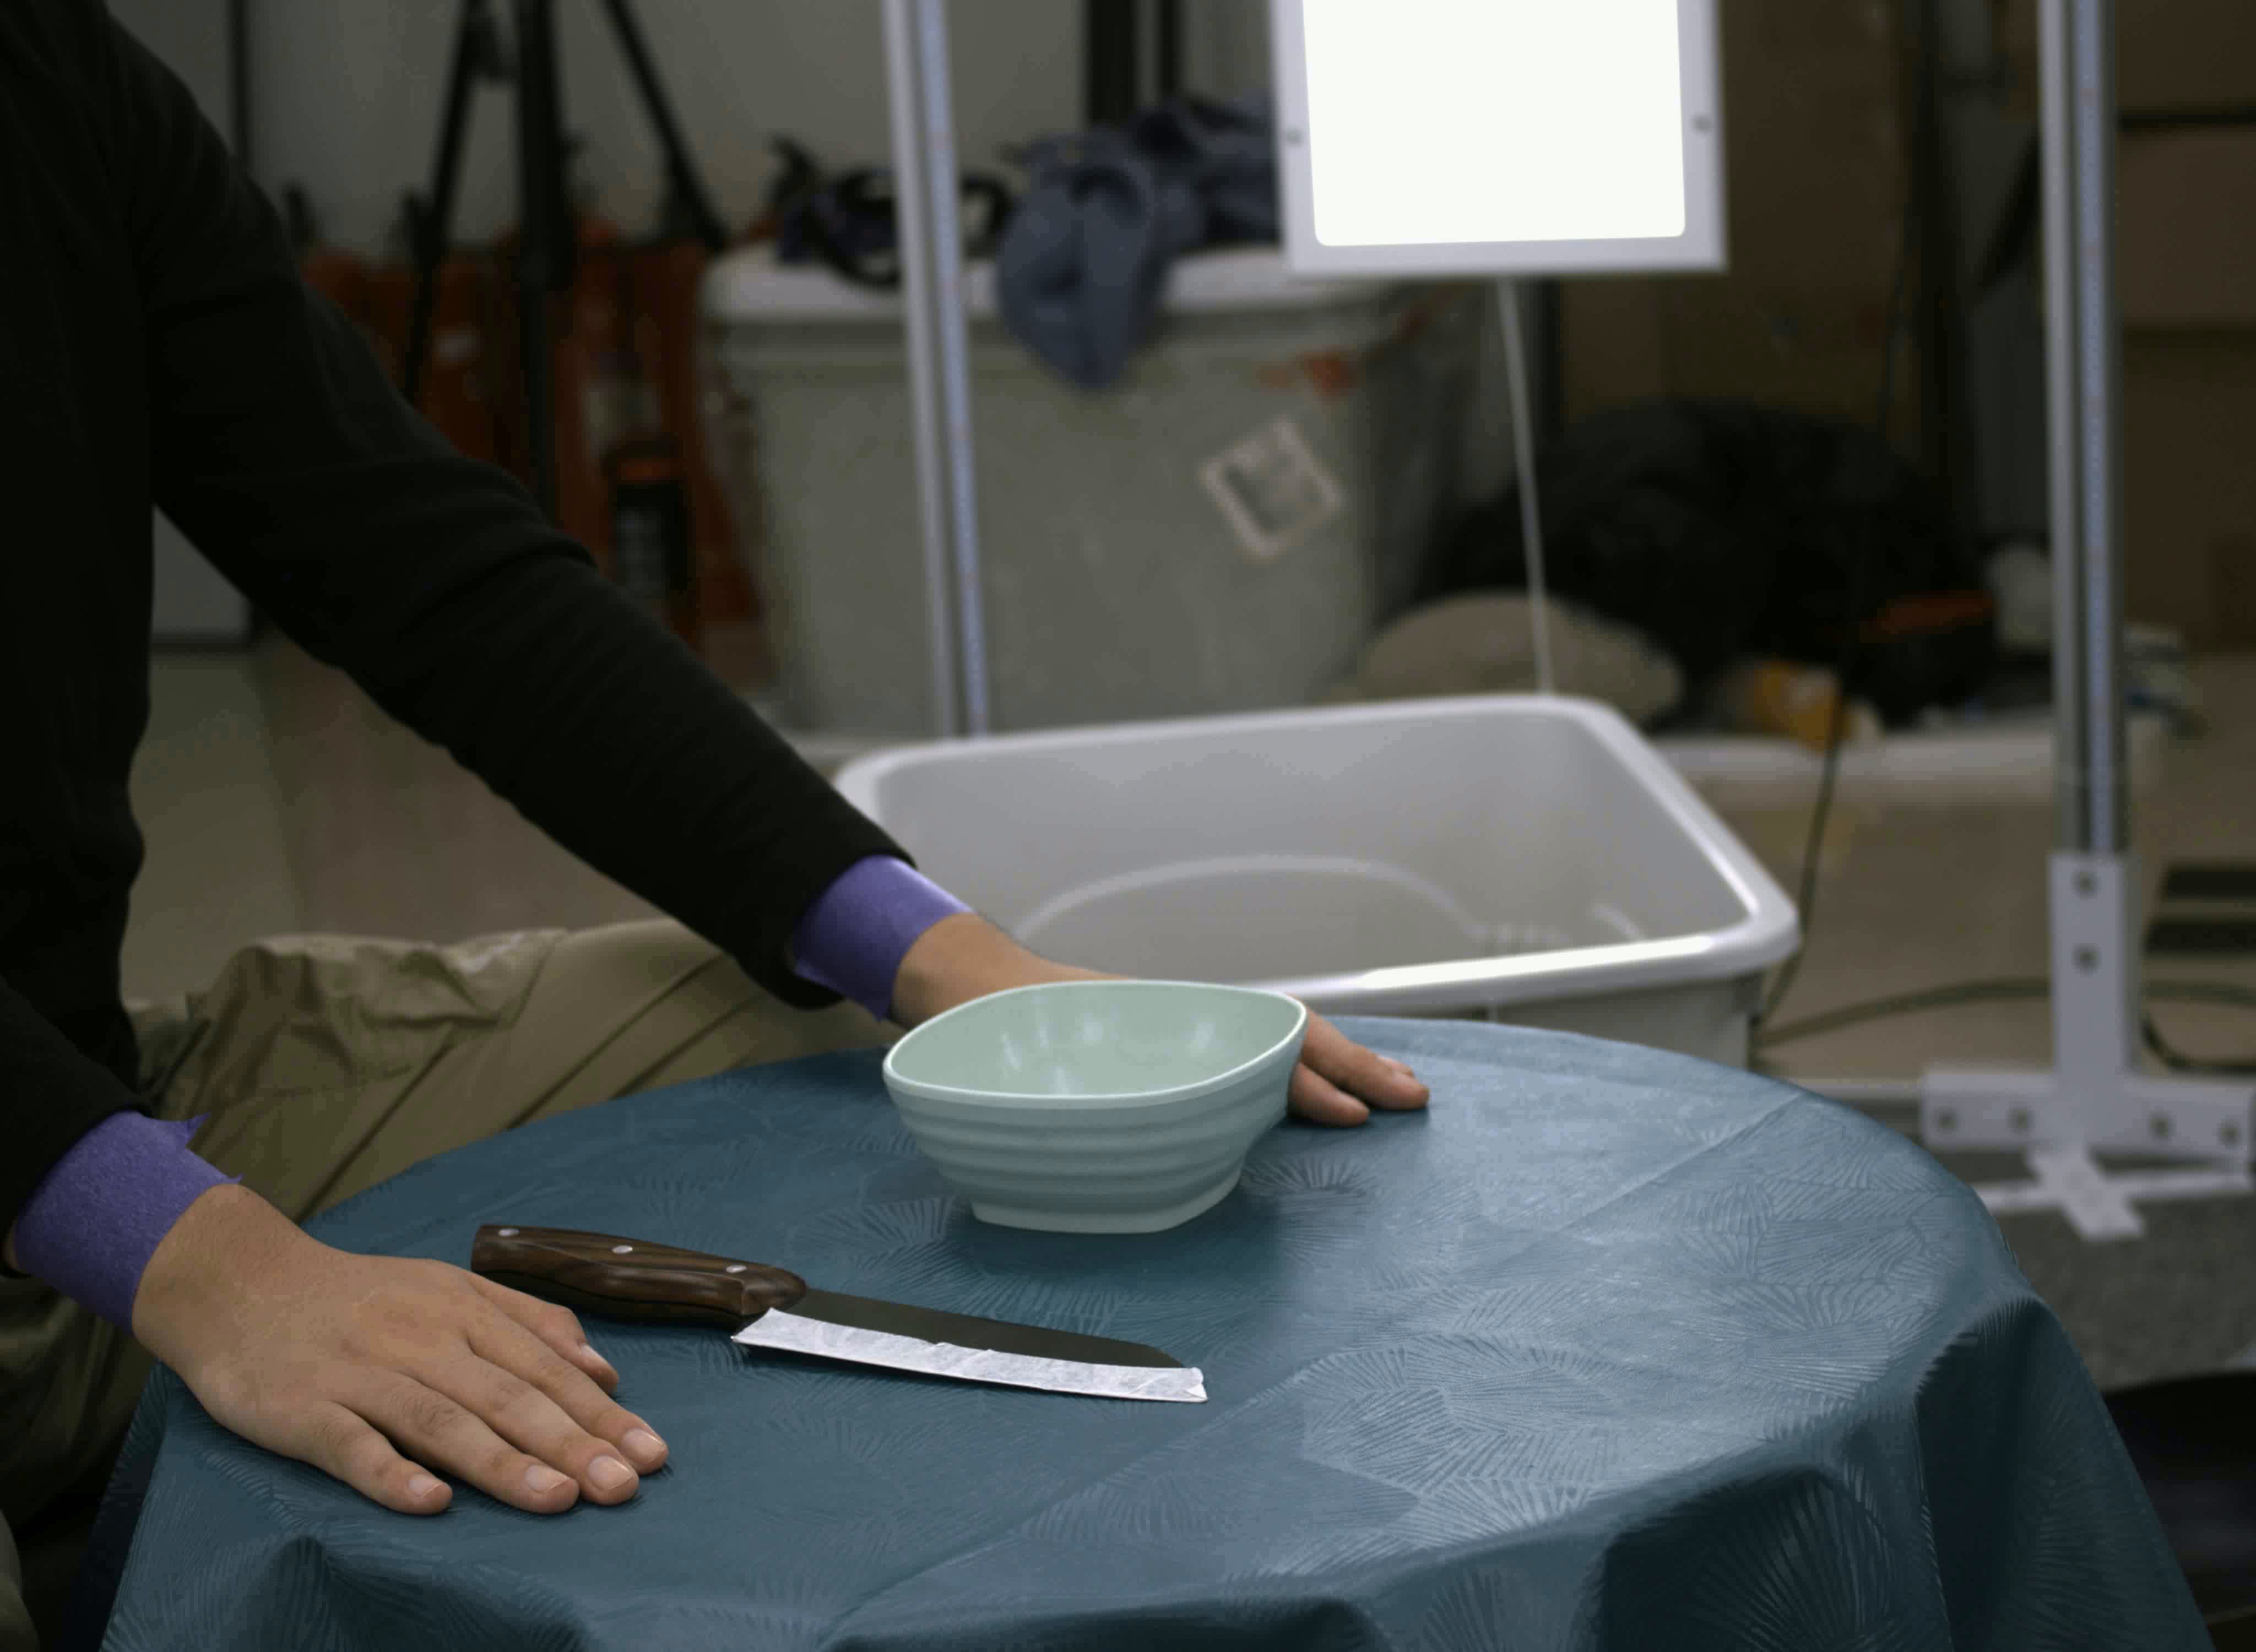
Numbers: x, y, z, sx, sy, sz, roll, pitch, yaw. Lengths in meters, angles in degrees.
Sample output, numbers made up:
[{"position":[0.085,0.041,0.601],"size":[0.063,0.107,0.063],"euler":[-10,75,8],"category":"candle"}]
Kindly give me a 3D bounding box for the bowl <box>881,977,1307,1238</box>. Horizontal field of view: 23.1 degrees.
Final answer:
[{"position":[-0.010,0.100,1.892],"size":[0.151,0.059,0.151],"euler":[-3,15,0],"category":"bowl"}]

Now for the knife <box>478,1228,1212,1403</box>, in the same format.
[{"position":[-0.095,0.159,1.771],"size":[0.295,0.020,0.049],"euler":[7,23,33],"category":"knife"}]
